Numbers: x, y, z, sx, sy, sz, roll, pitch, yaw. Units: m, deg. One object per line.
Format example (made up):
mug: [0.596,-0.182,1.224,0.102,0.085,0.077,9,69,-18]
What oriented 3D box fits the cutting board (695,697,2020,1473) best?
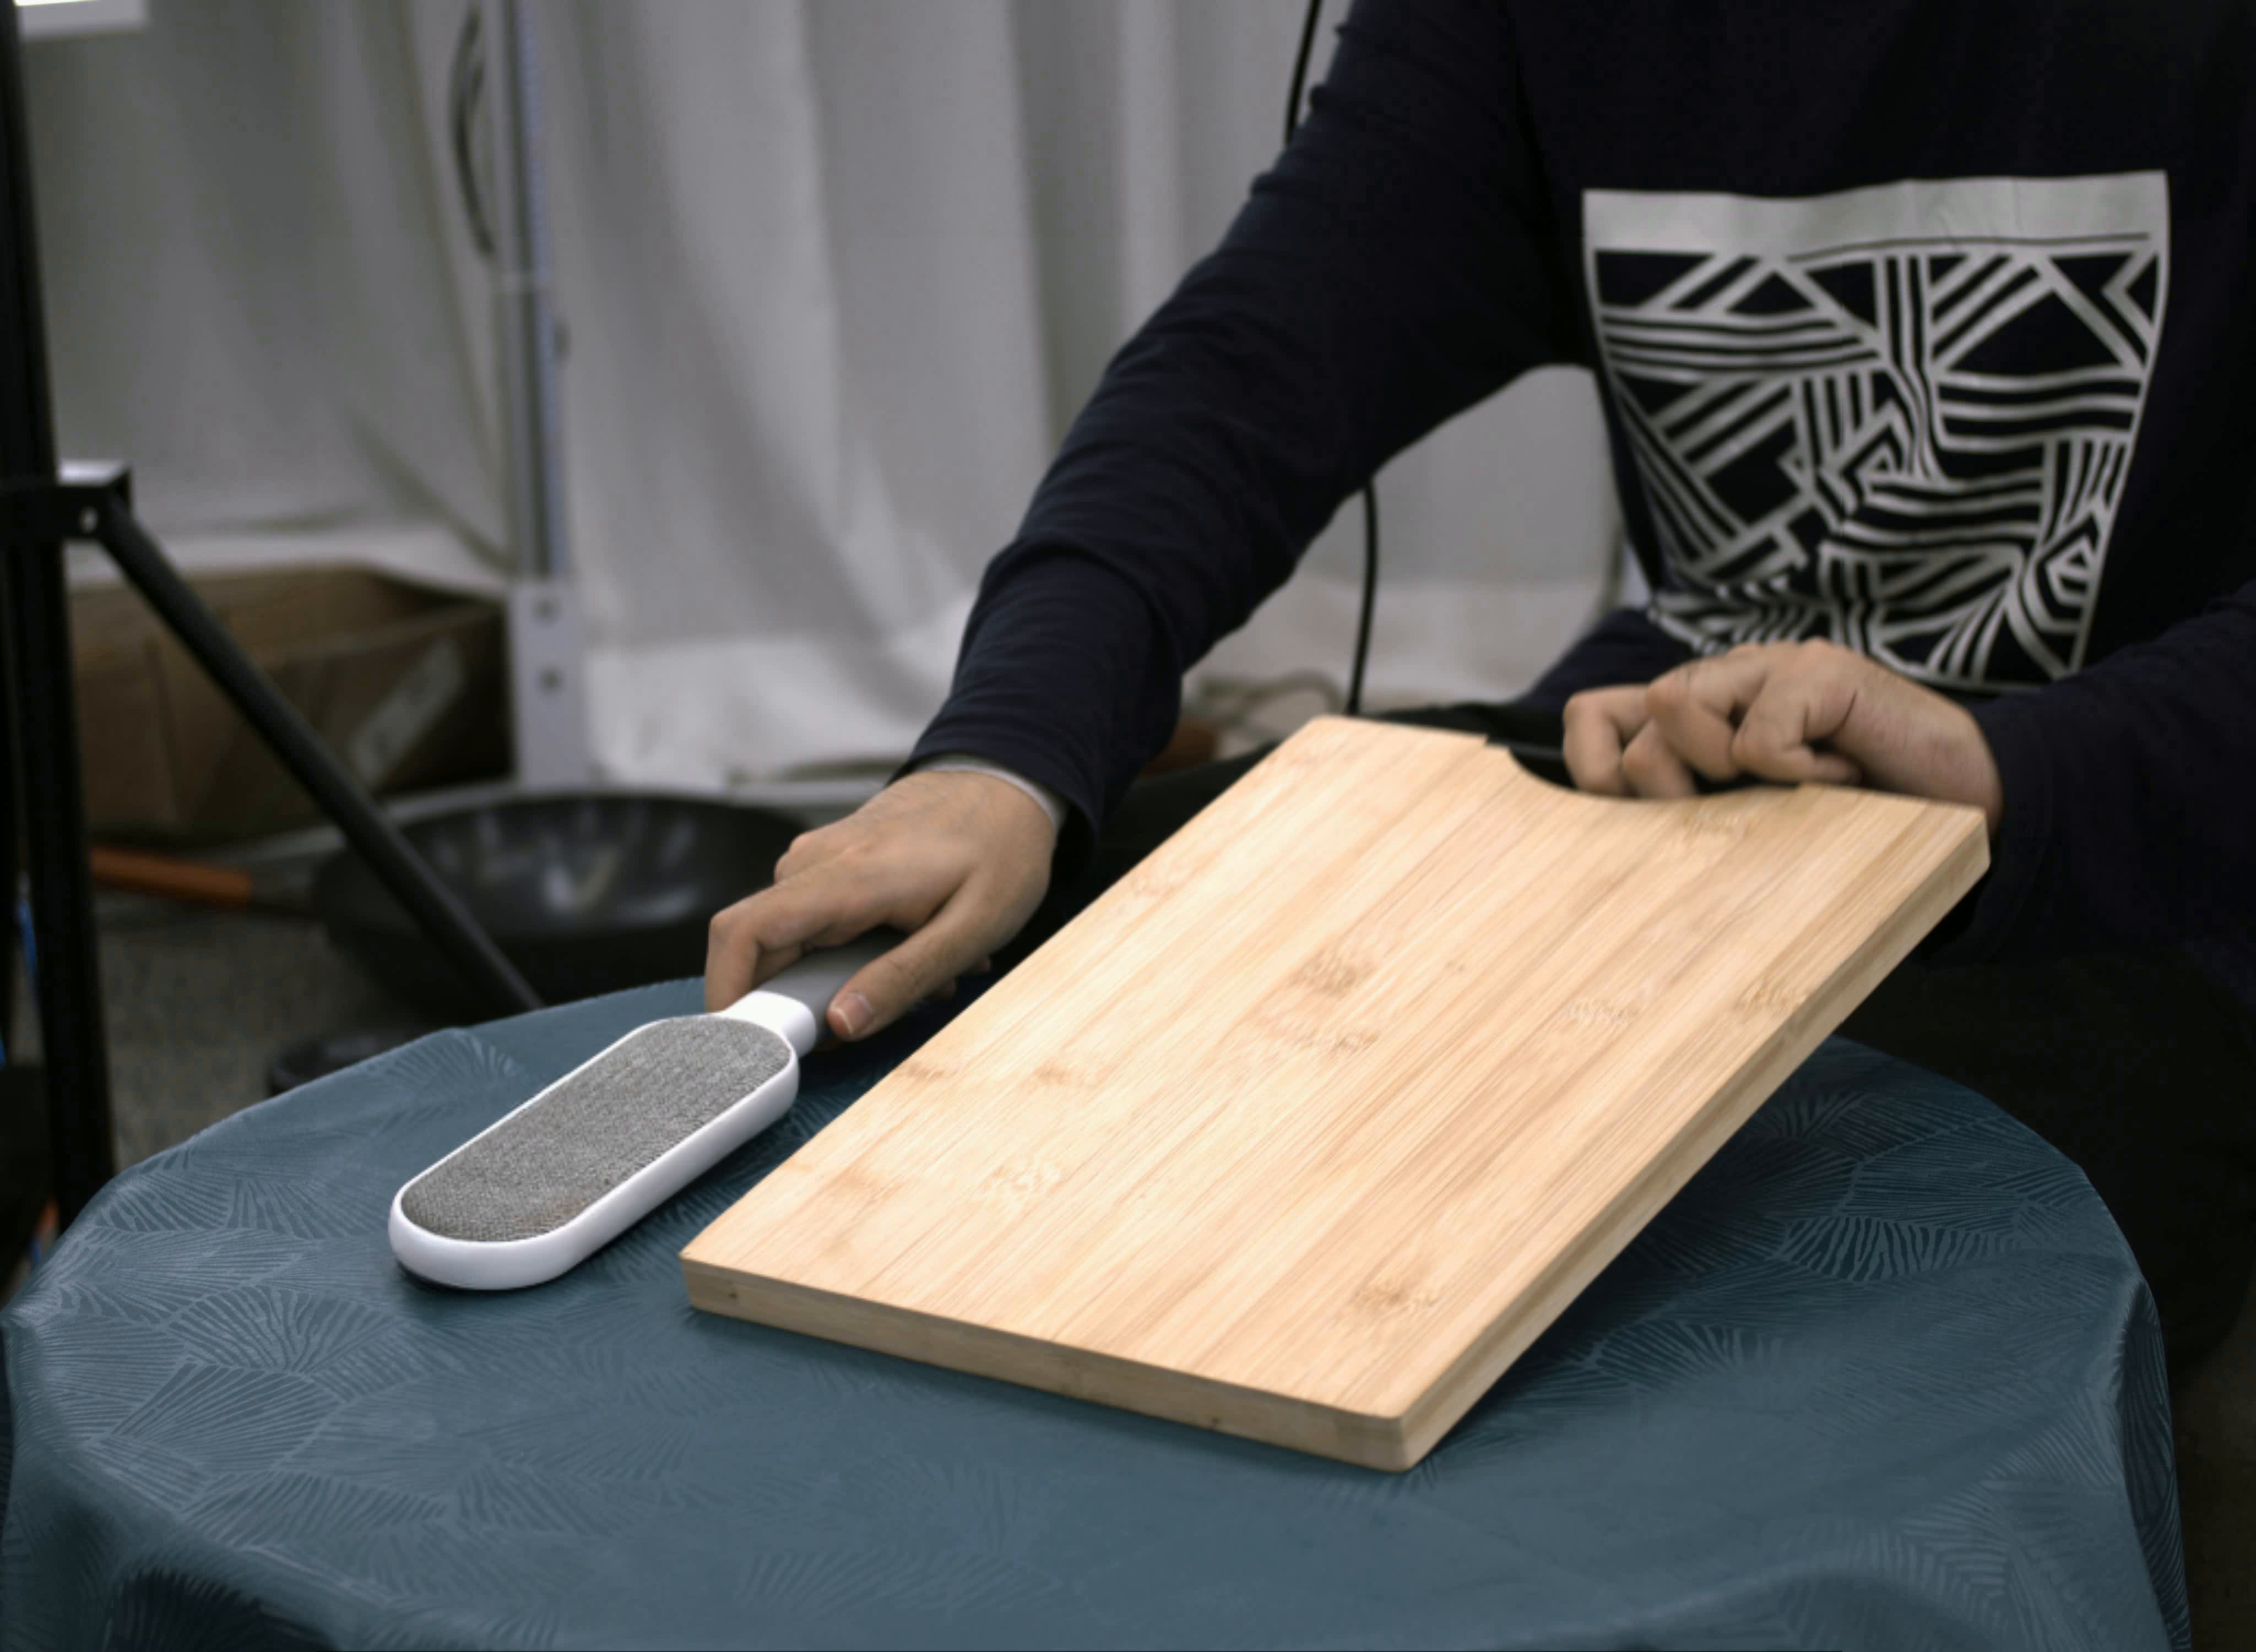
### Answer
cutting board: [0.071,0.062,1.531,0.256,0.023,0.344,9,34,35]

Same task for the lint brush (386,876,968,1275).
lint brush: [-0.127,0.072,1.626,0.061,0.021,0.304,8,22,26]
